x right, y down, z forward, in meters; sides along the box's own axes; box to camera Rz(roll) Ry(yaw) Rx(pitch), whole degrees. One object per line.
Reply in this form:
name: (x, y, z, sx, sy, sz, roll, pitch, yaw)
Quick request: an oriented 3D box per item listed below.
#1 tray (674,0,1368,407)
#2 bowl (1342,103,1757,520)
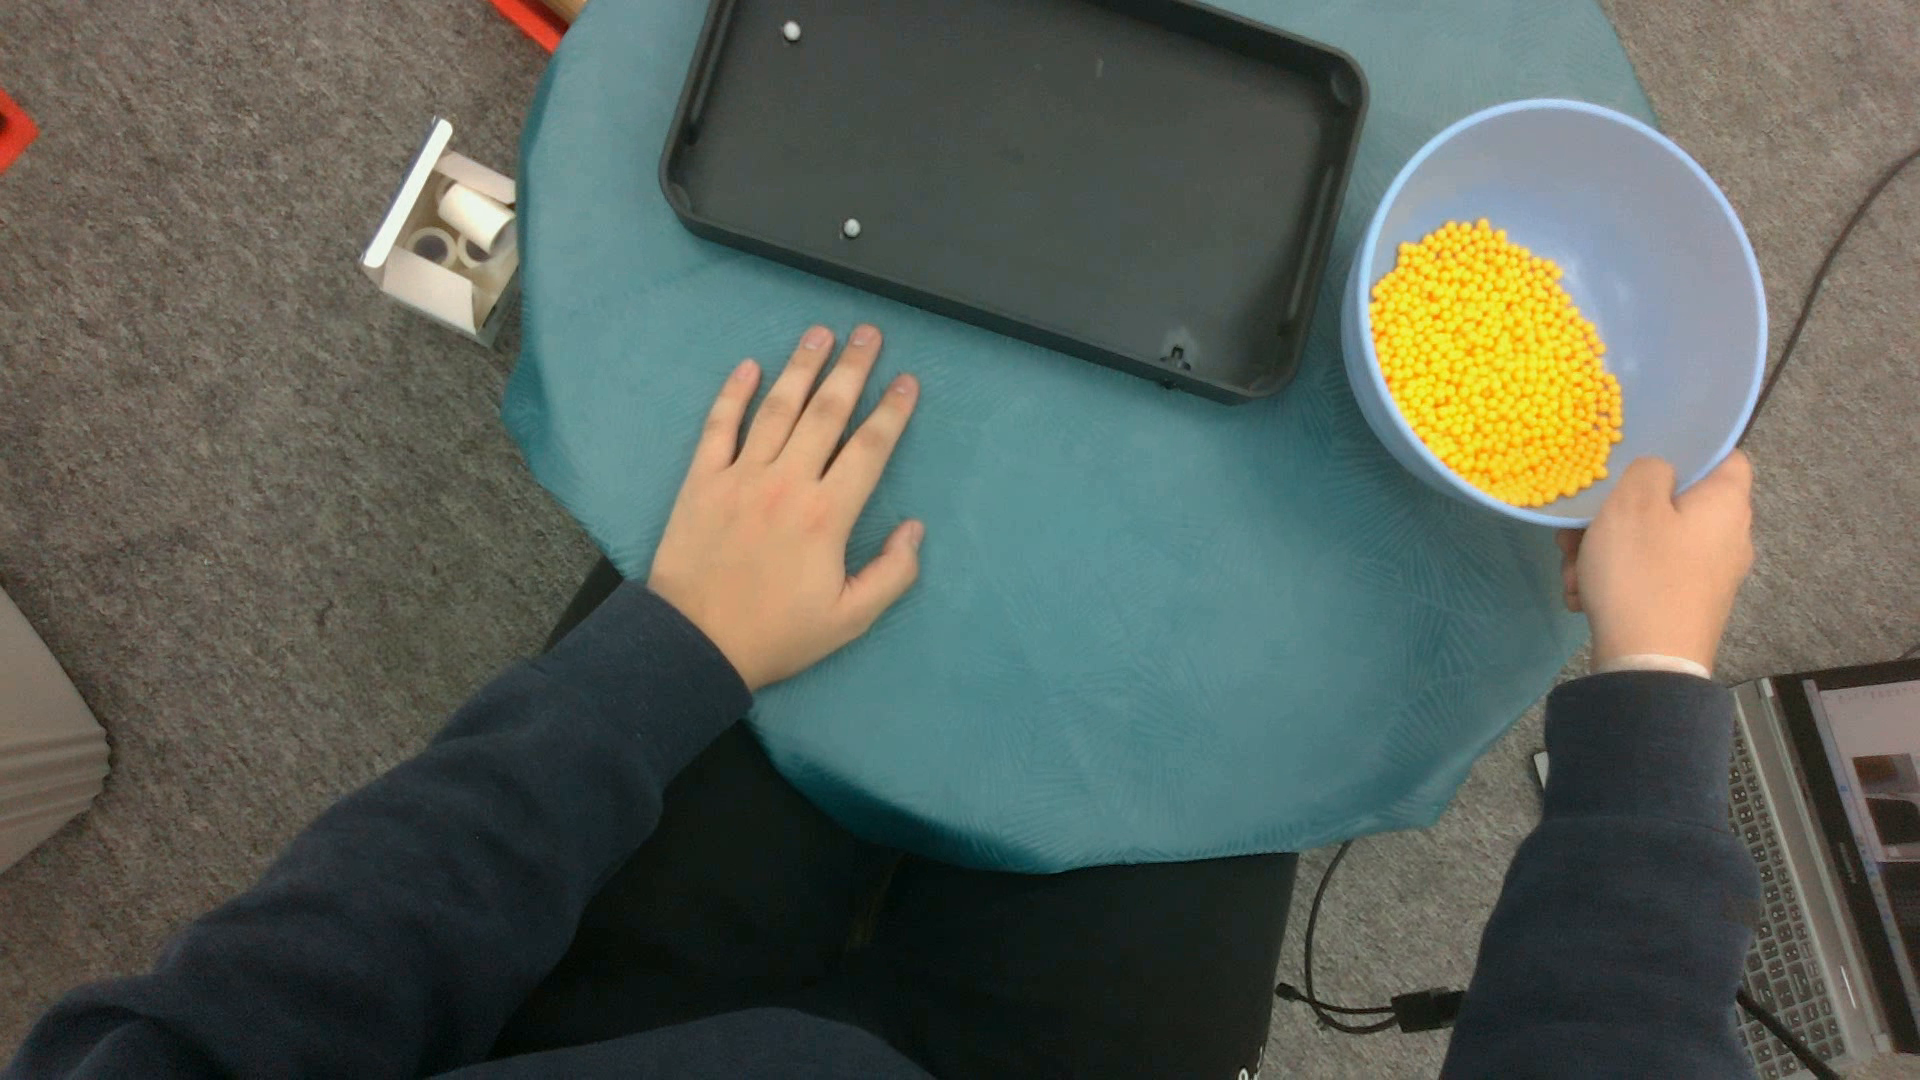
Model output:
tray: (0.034, -0.191, 0.687, 0.318, 0.037, 0.184, 16, 83, -5)
bowl: (0.271, -0.102, 0.677, 0.196, 0.095, 0.196, 1, 83, -8)
